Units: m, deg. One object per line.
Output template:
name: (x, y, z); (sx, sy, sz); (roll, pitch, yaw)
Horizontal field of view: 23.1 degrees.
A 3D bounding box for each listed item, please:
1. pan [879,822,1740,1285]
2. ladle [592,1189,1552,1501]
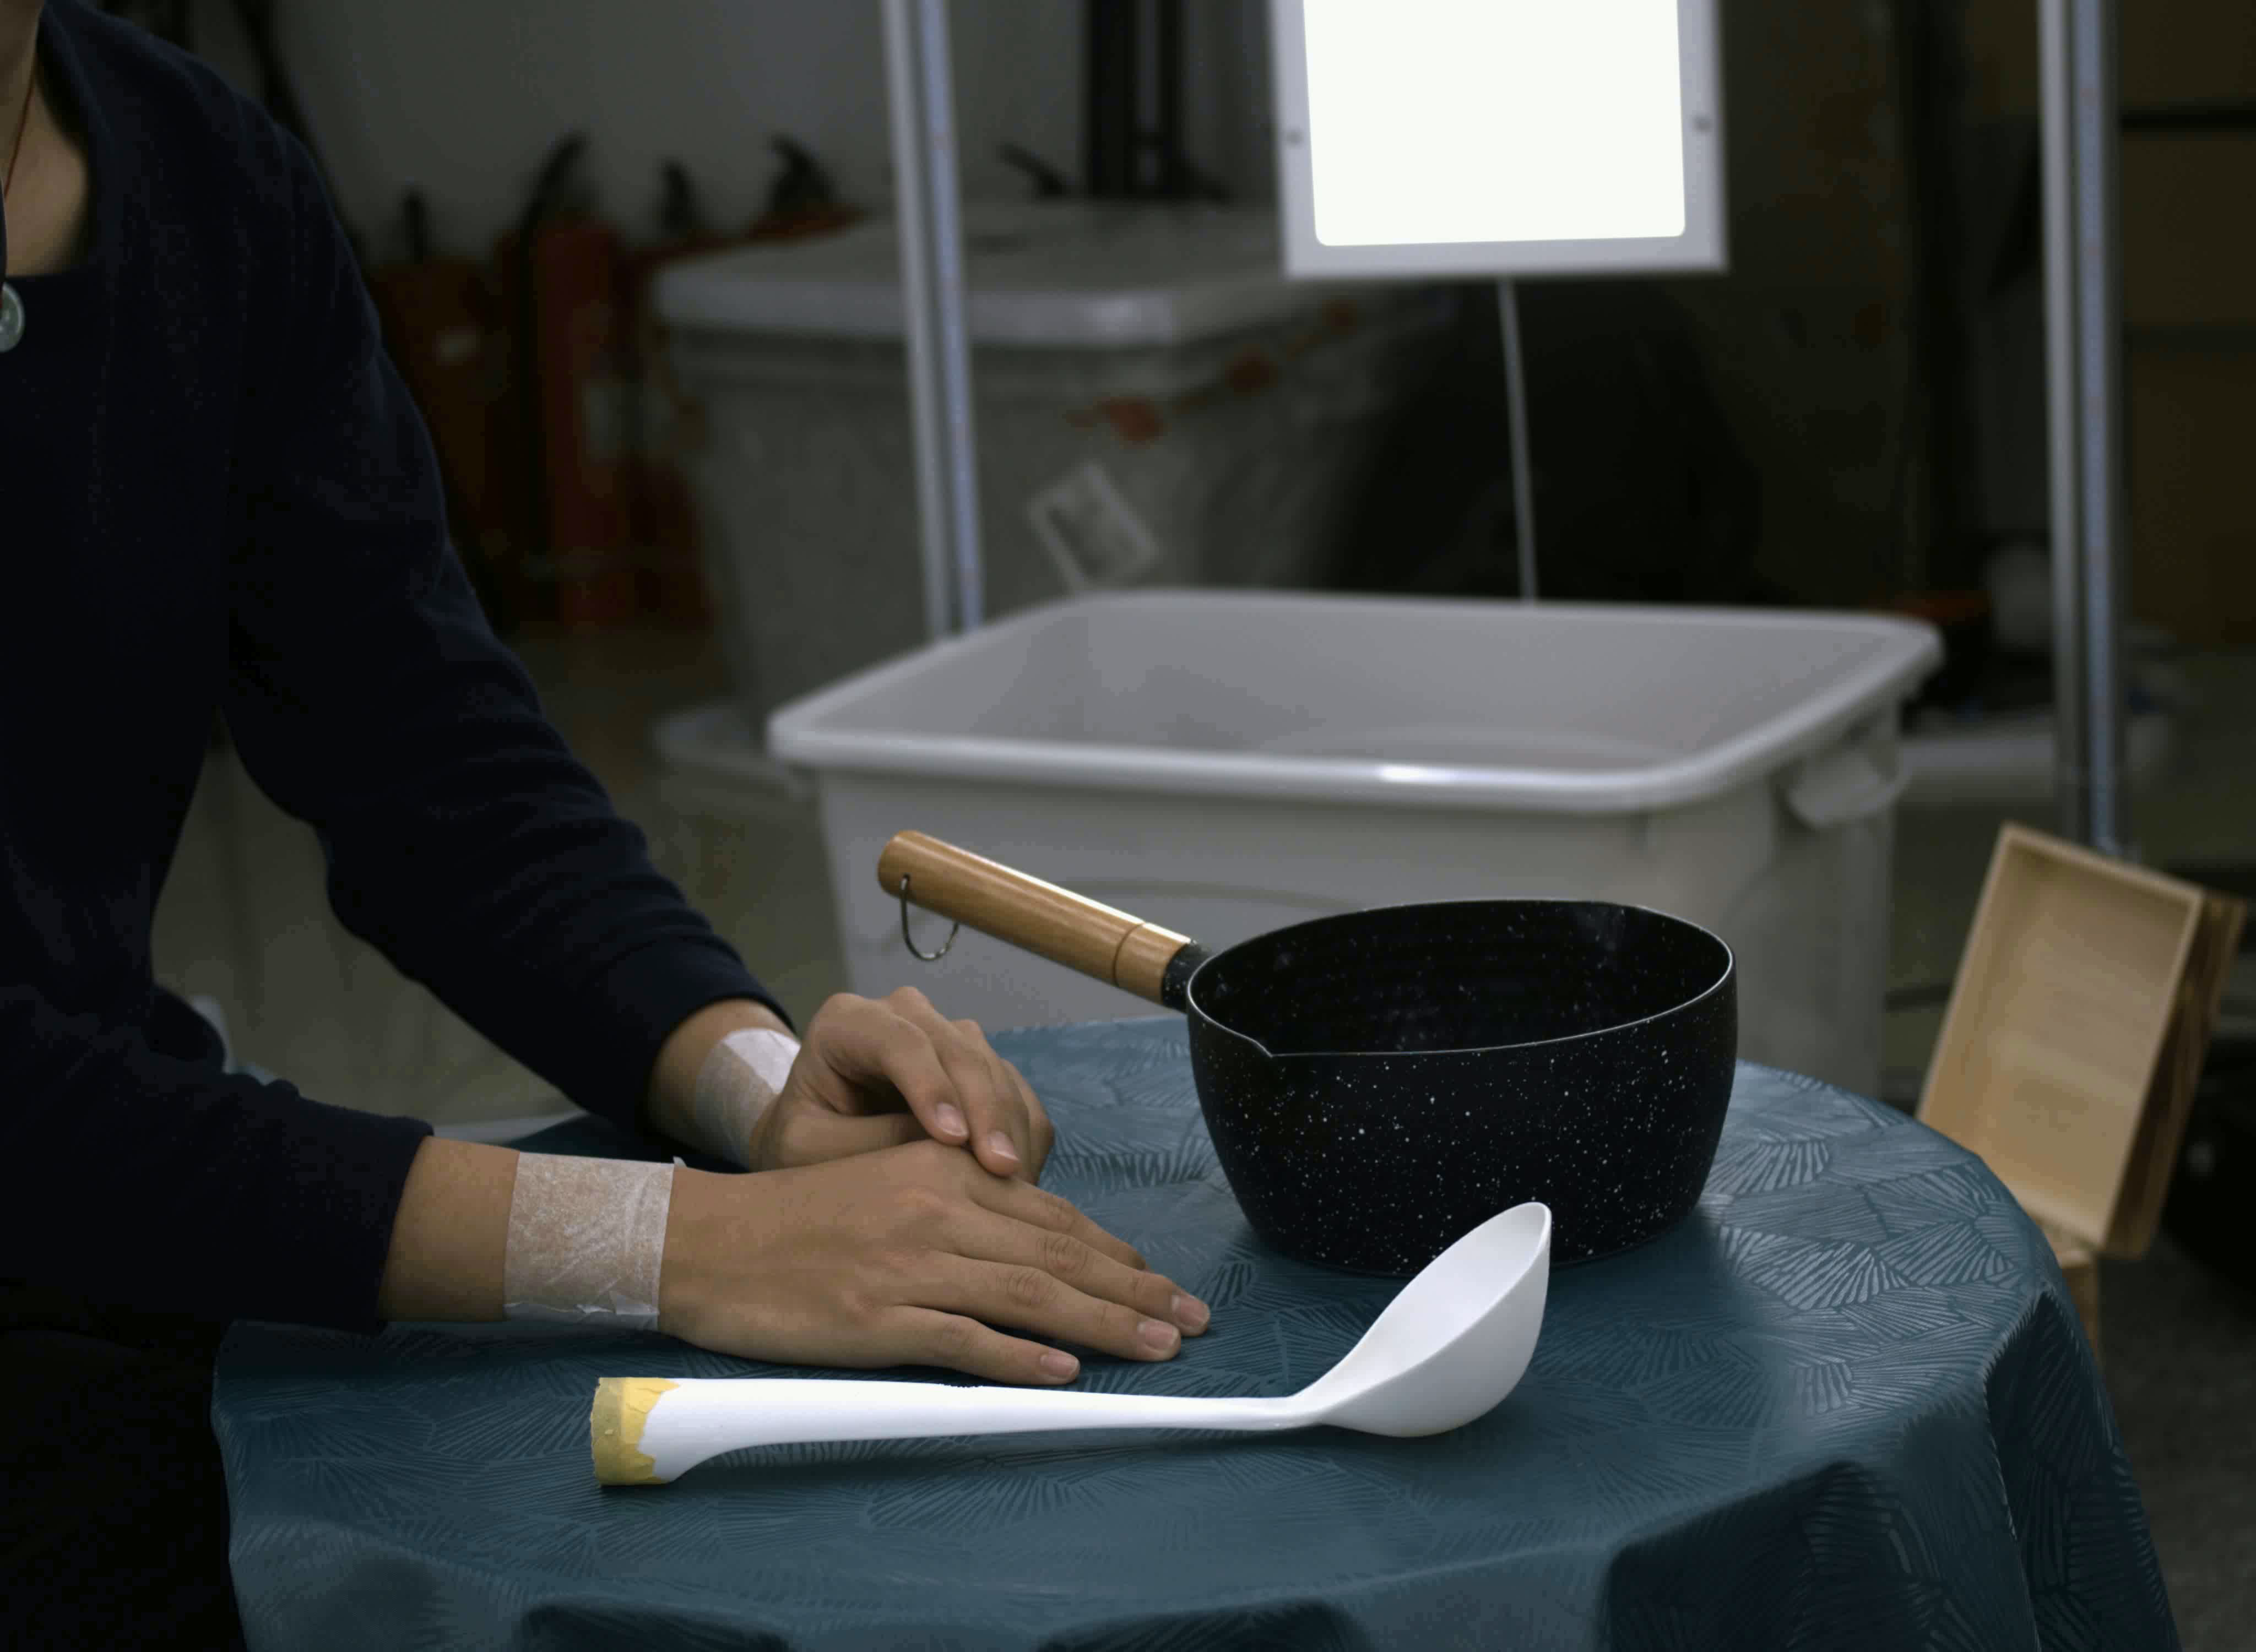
pan: (0.050, 0.070, 1.882); (0.350, 0.108, 0.202); (8, 20, 38)
ladle: (-0.017, 0.158, 1.638); (0.293, 0.070, 0.089); (-4, 20, 6)
